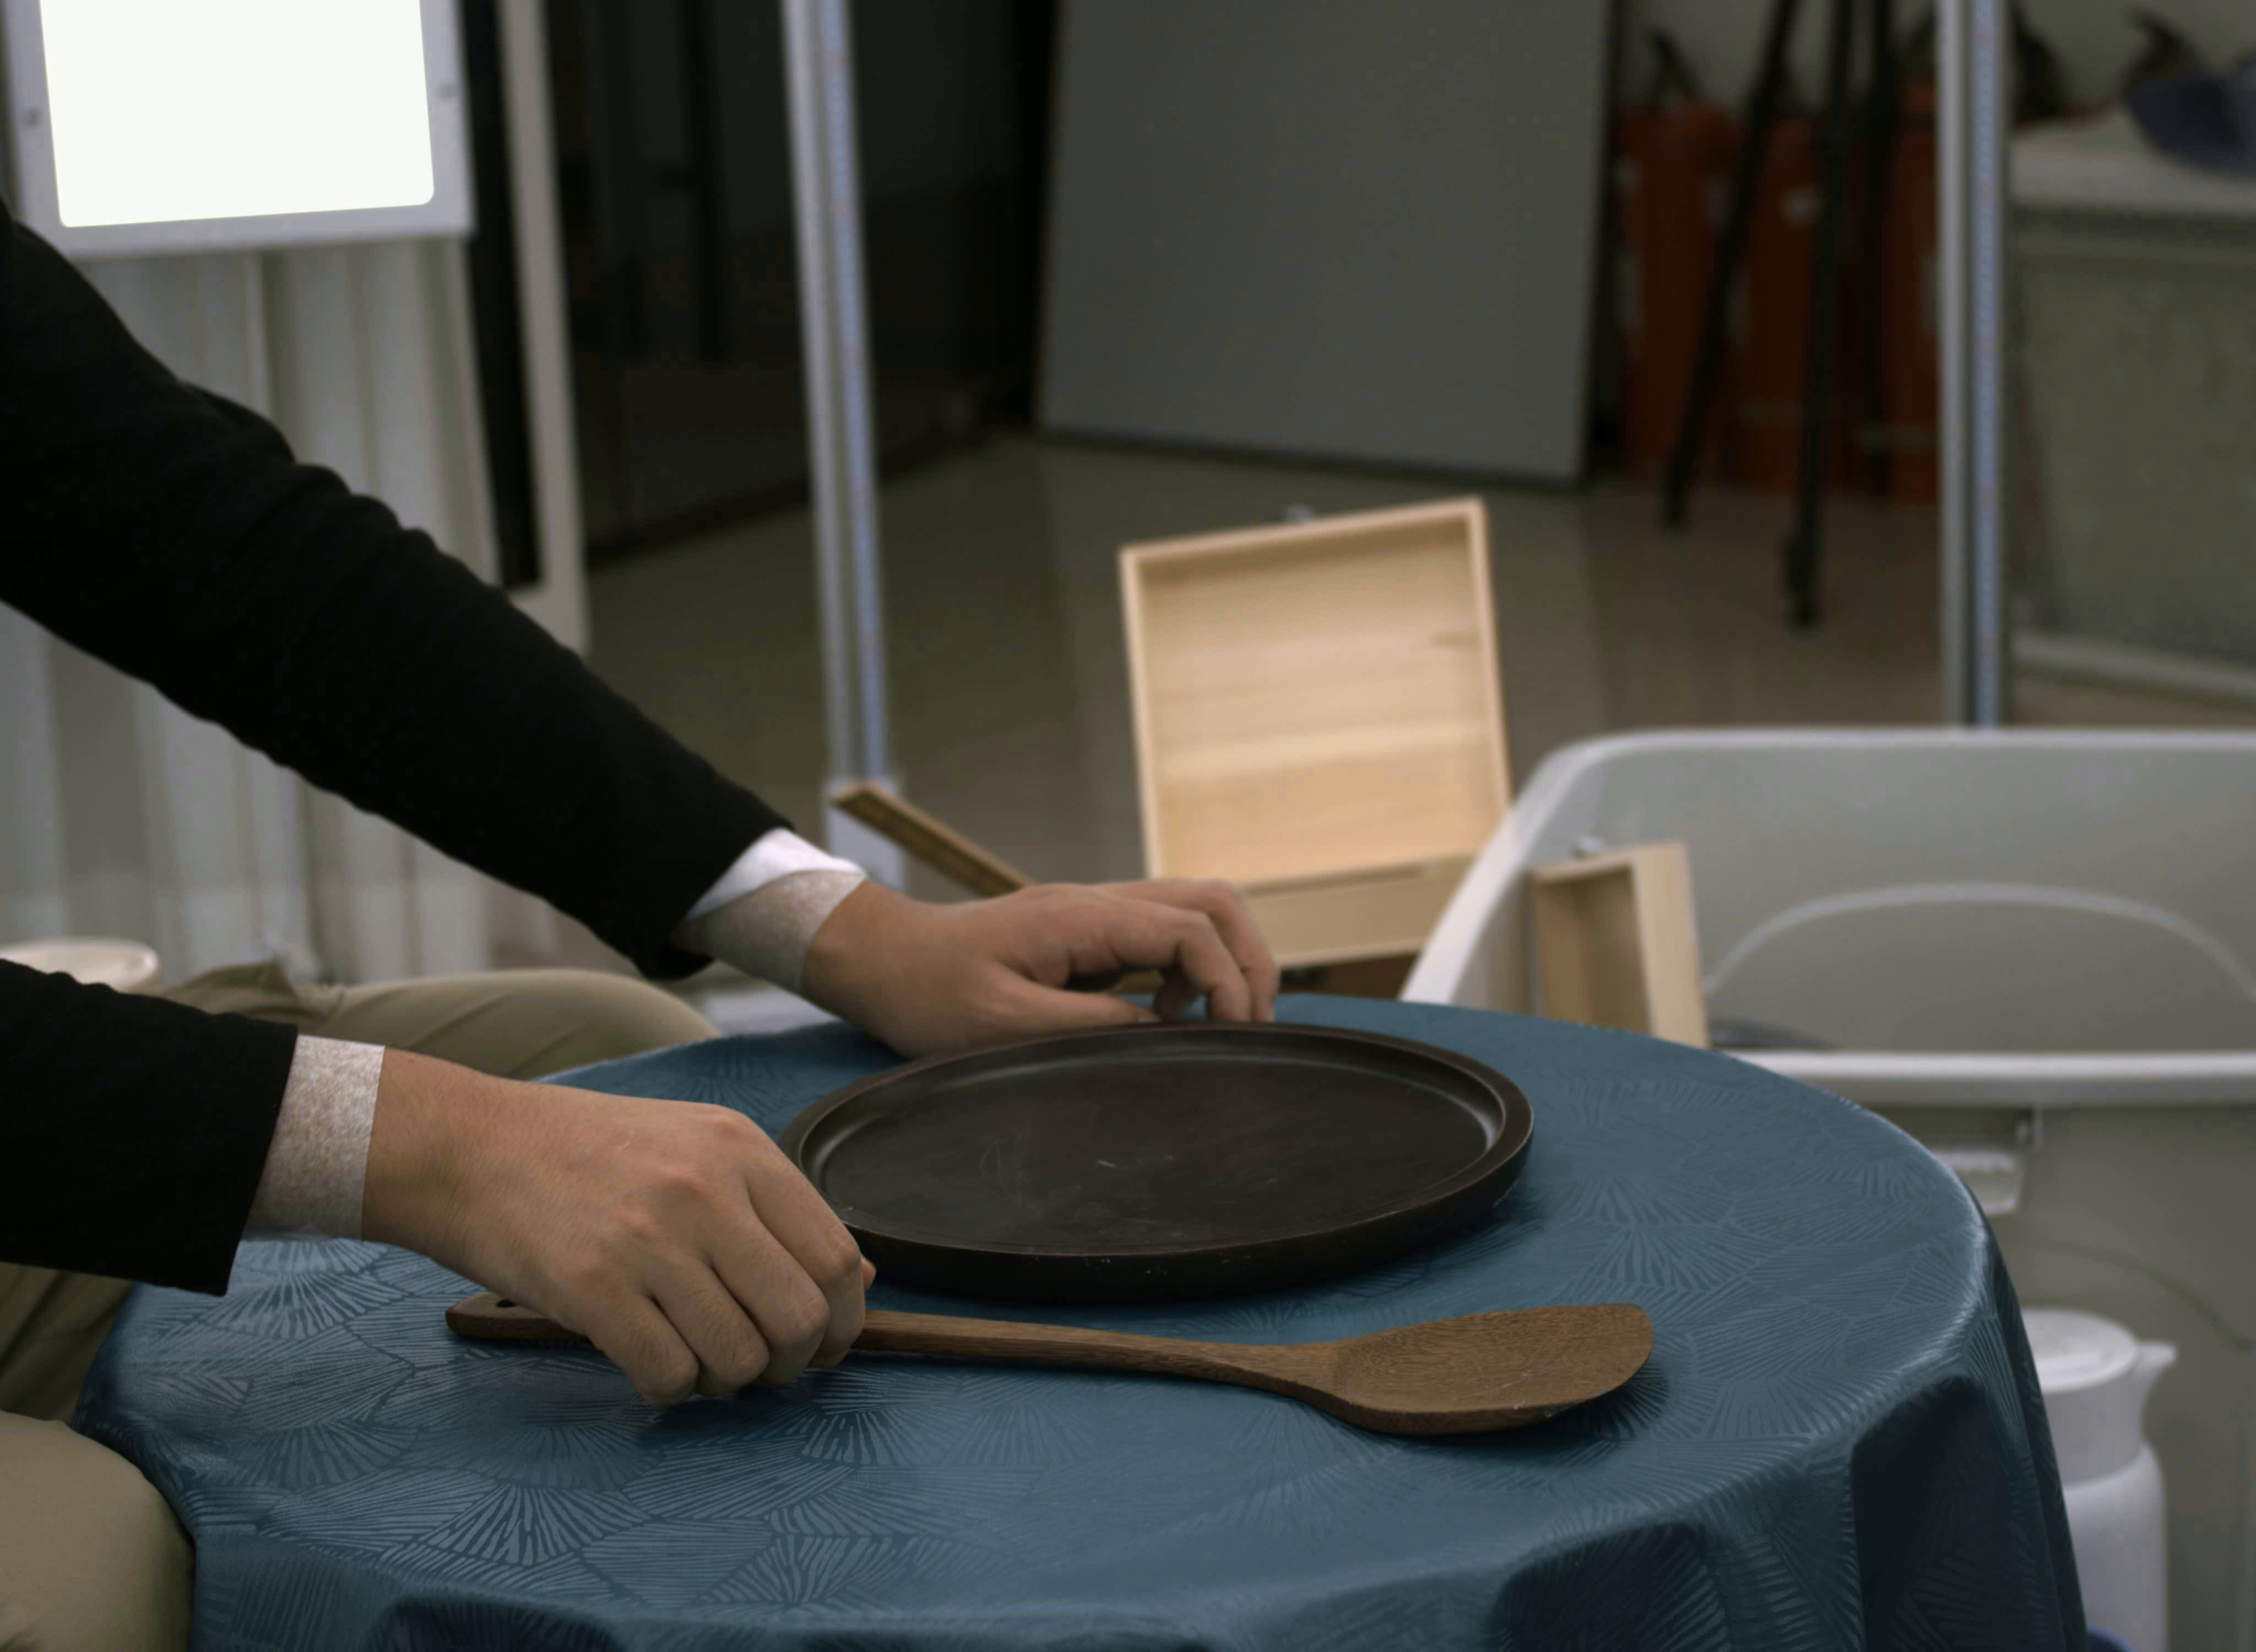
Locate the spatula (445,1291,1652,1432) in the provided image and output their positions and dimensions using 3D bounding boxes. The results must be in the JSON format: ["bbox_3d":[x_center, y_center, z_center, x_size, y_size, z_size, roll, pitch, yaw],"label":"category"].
[{"bbox_3d":[-0.032,0.155,1.611,0.385,0.016,0.095,1,14,21],"label":"spatula"}]

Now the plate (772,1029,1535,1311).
[{"bbox_3d":[0.009,0.109,1.764,0.251,0.029,0.255,-5,15,0],"label":"plate"}]
